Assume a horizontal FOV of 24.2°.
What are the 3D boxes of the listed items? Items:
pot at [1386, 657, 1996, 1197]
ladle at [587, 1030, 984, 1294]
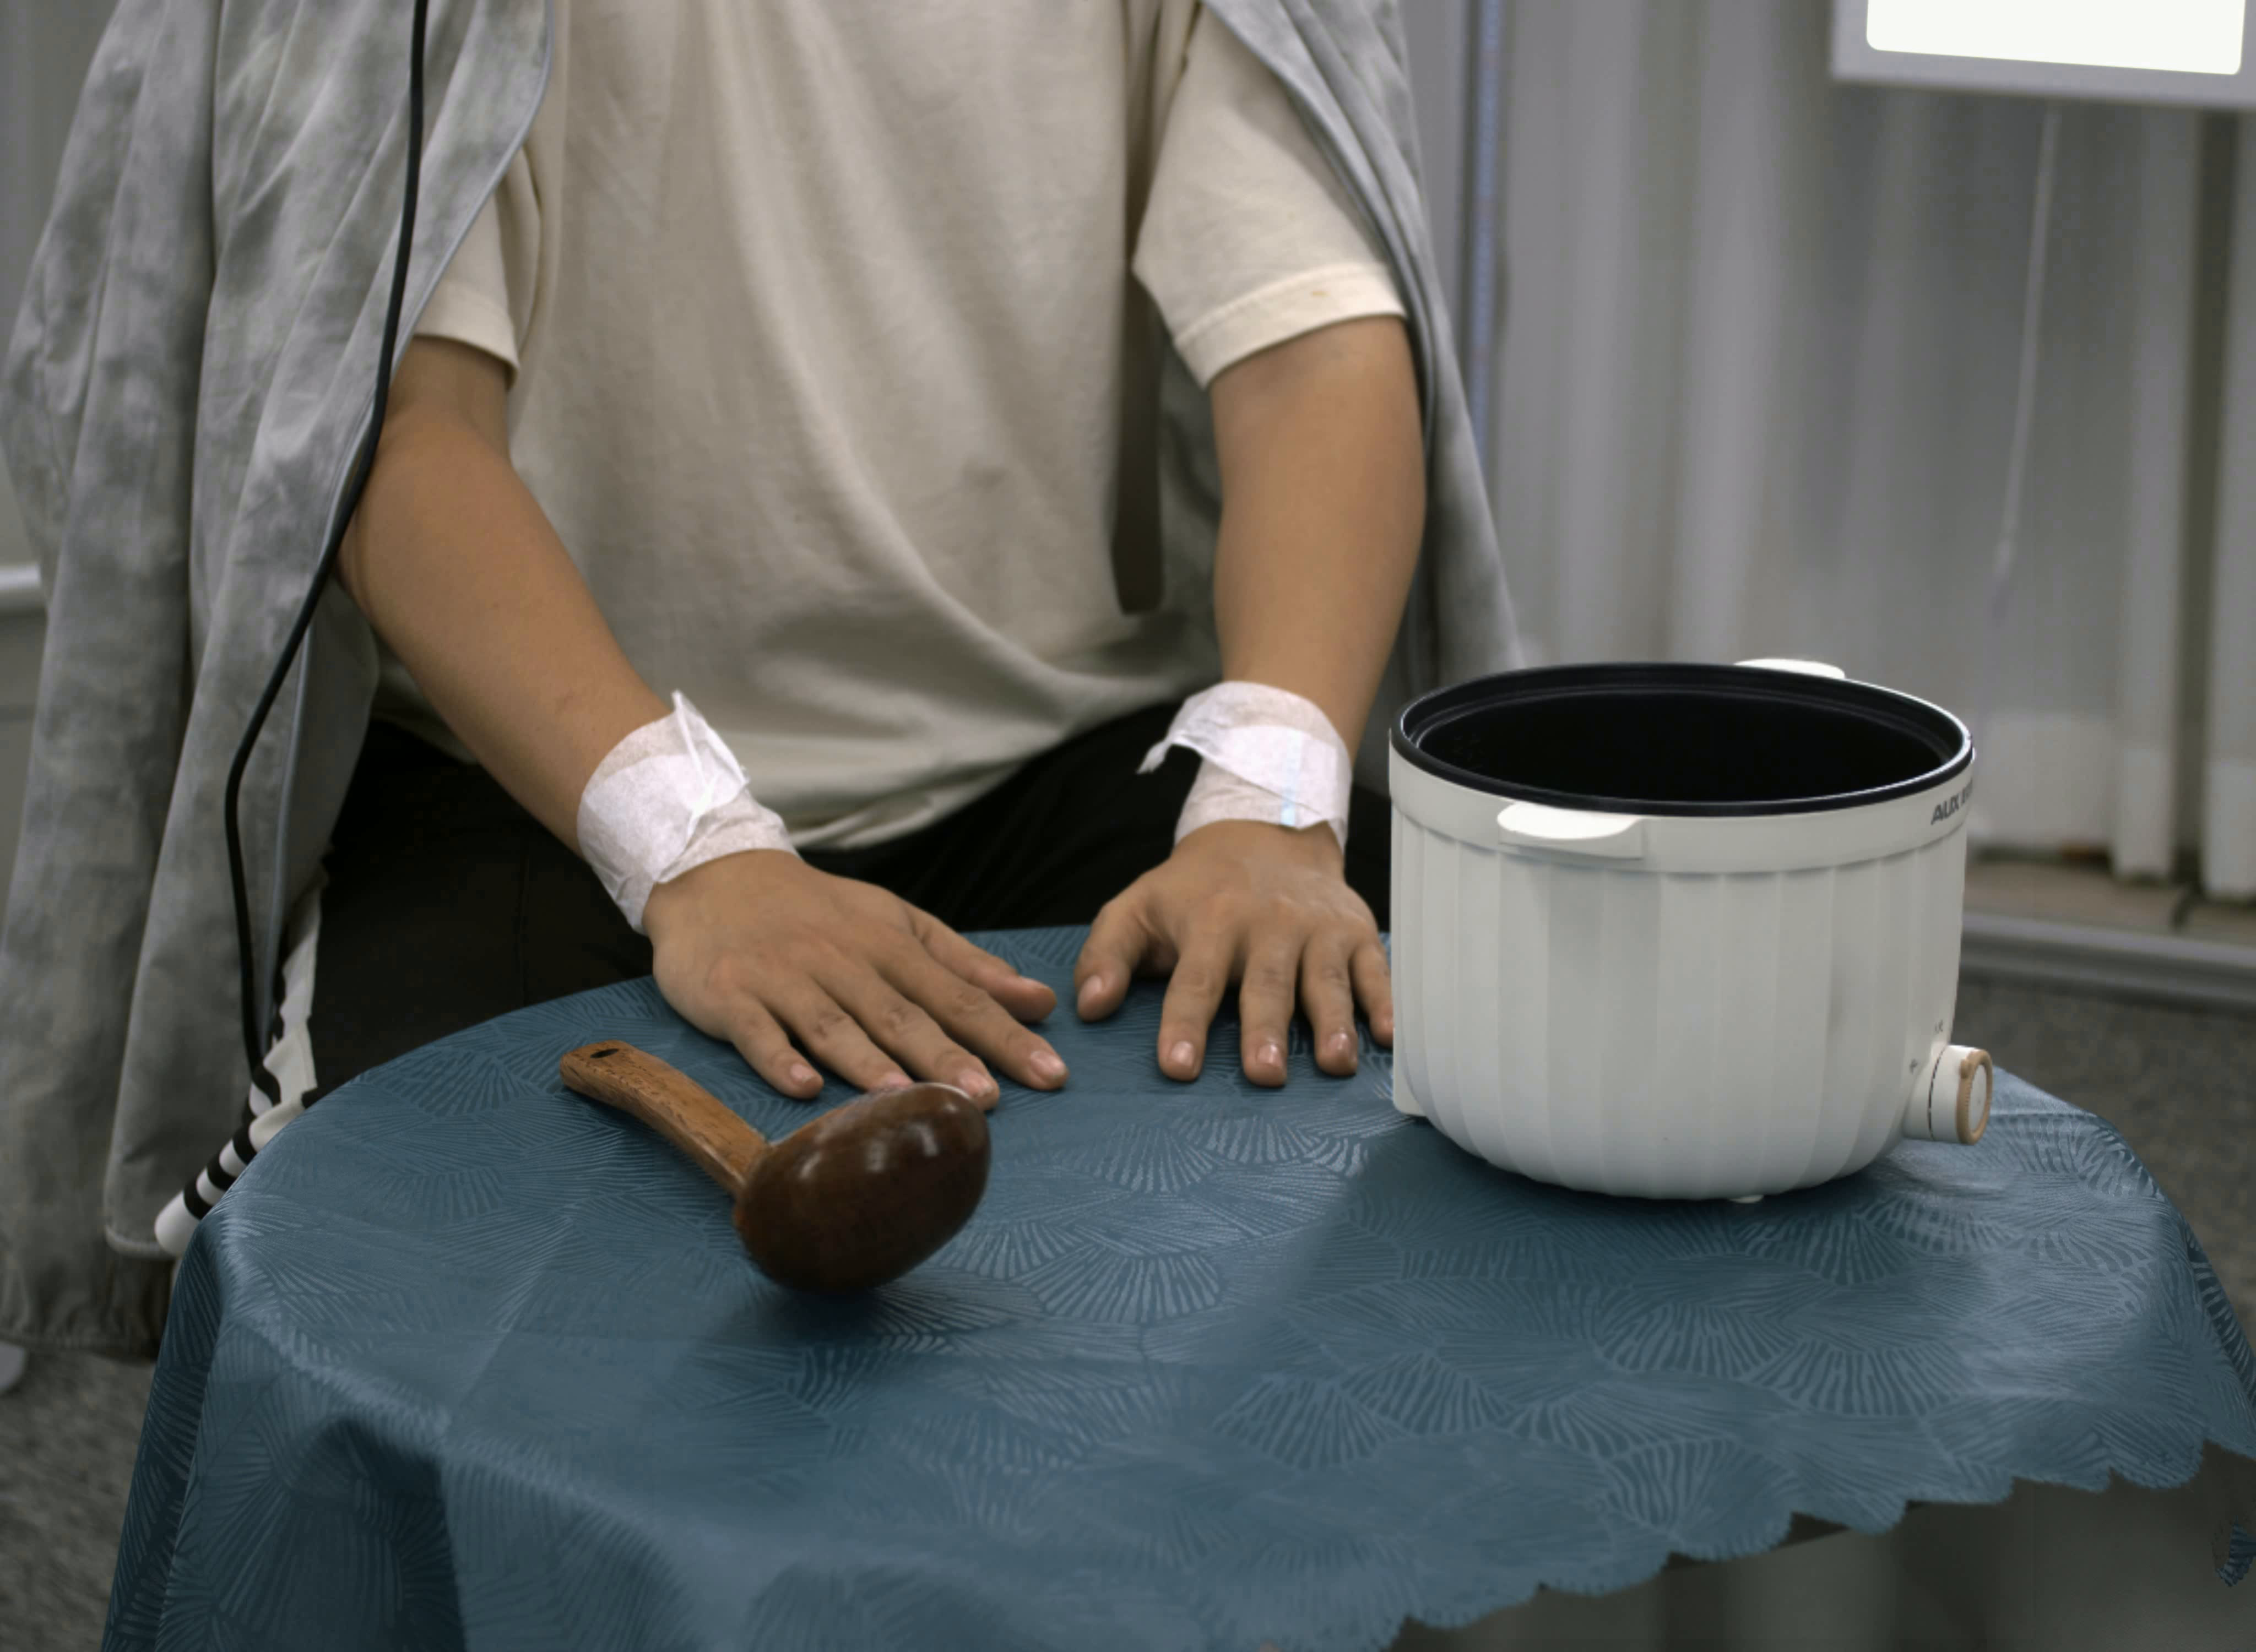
[{"bbox_3d":[0.177,0.033,1.655,0.188,0.144,0.241,3,17,24],"label":"pot"},{"bbox_3d":[-0.122,0.078,1.598,0.082,0.077,0.271,-15,21,-21],"label":"ladle"}]
